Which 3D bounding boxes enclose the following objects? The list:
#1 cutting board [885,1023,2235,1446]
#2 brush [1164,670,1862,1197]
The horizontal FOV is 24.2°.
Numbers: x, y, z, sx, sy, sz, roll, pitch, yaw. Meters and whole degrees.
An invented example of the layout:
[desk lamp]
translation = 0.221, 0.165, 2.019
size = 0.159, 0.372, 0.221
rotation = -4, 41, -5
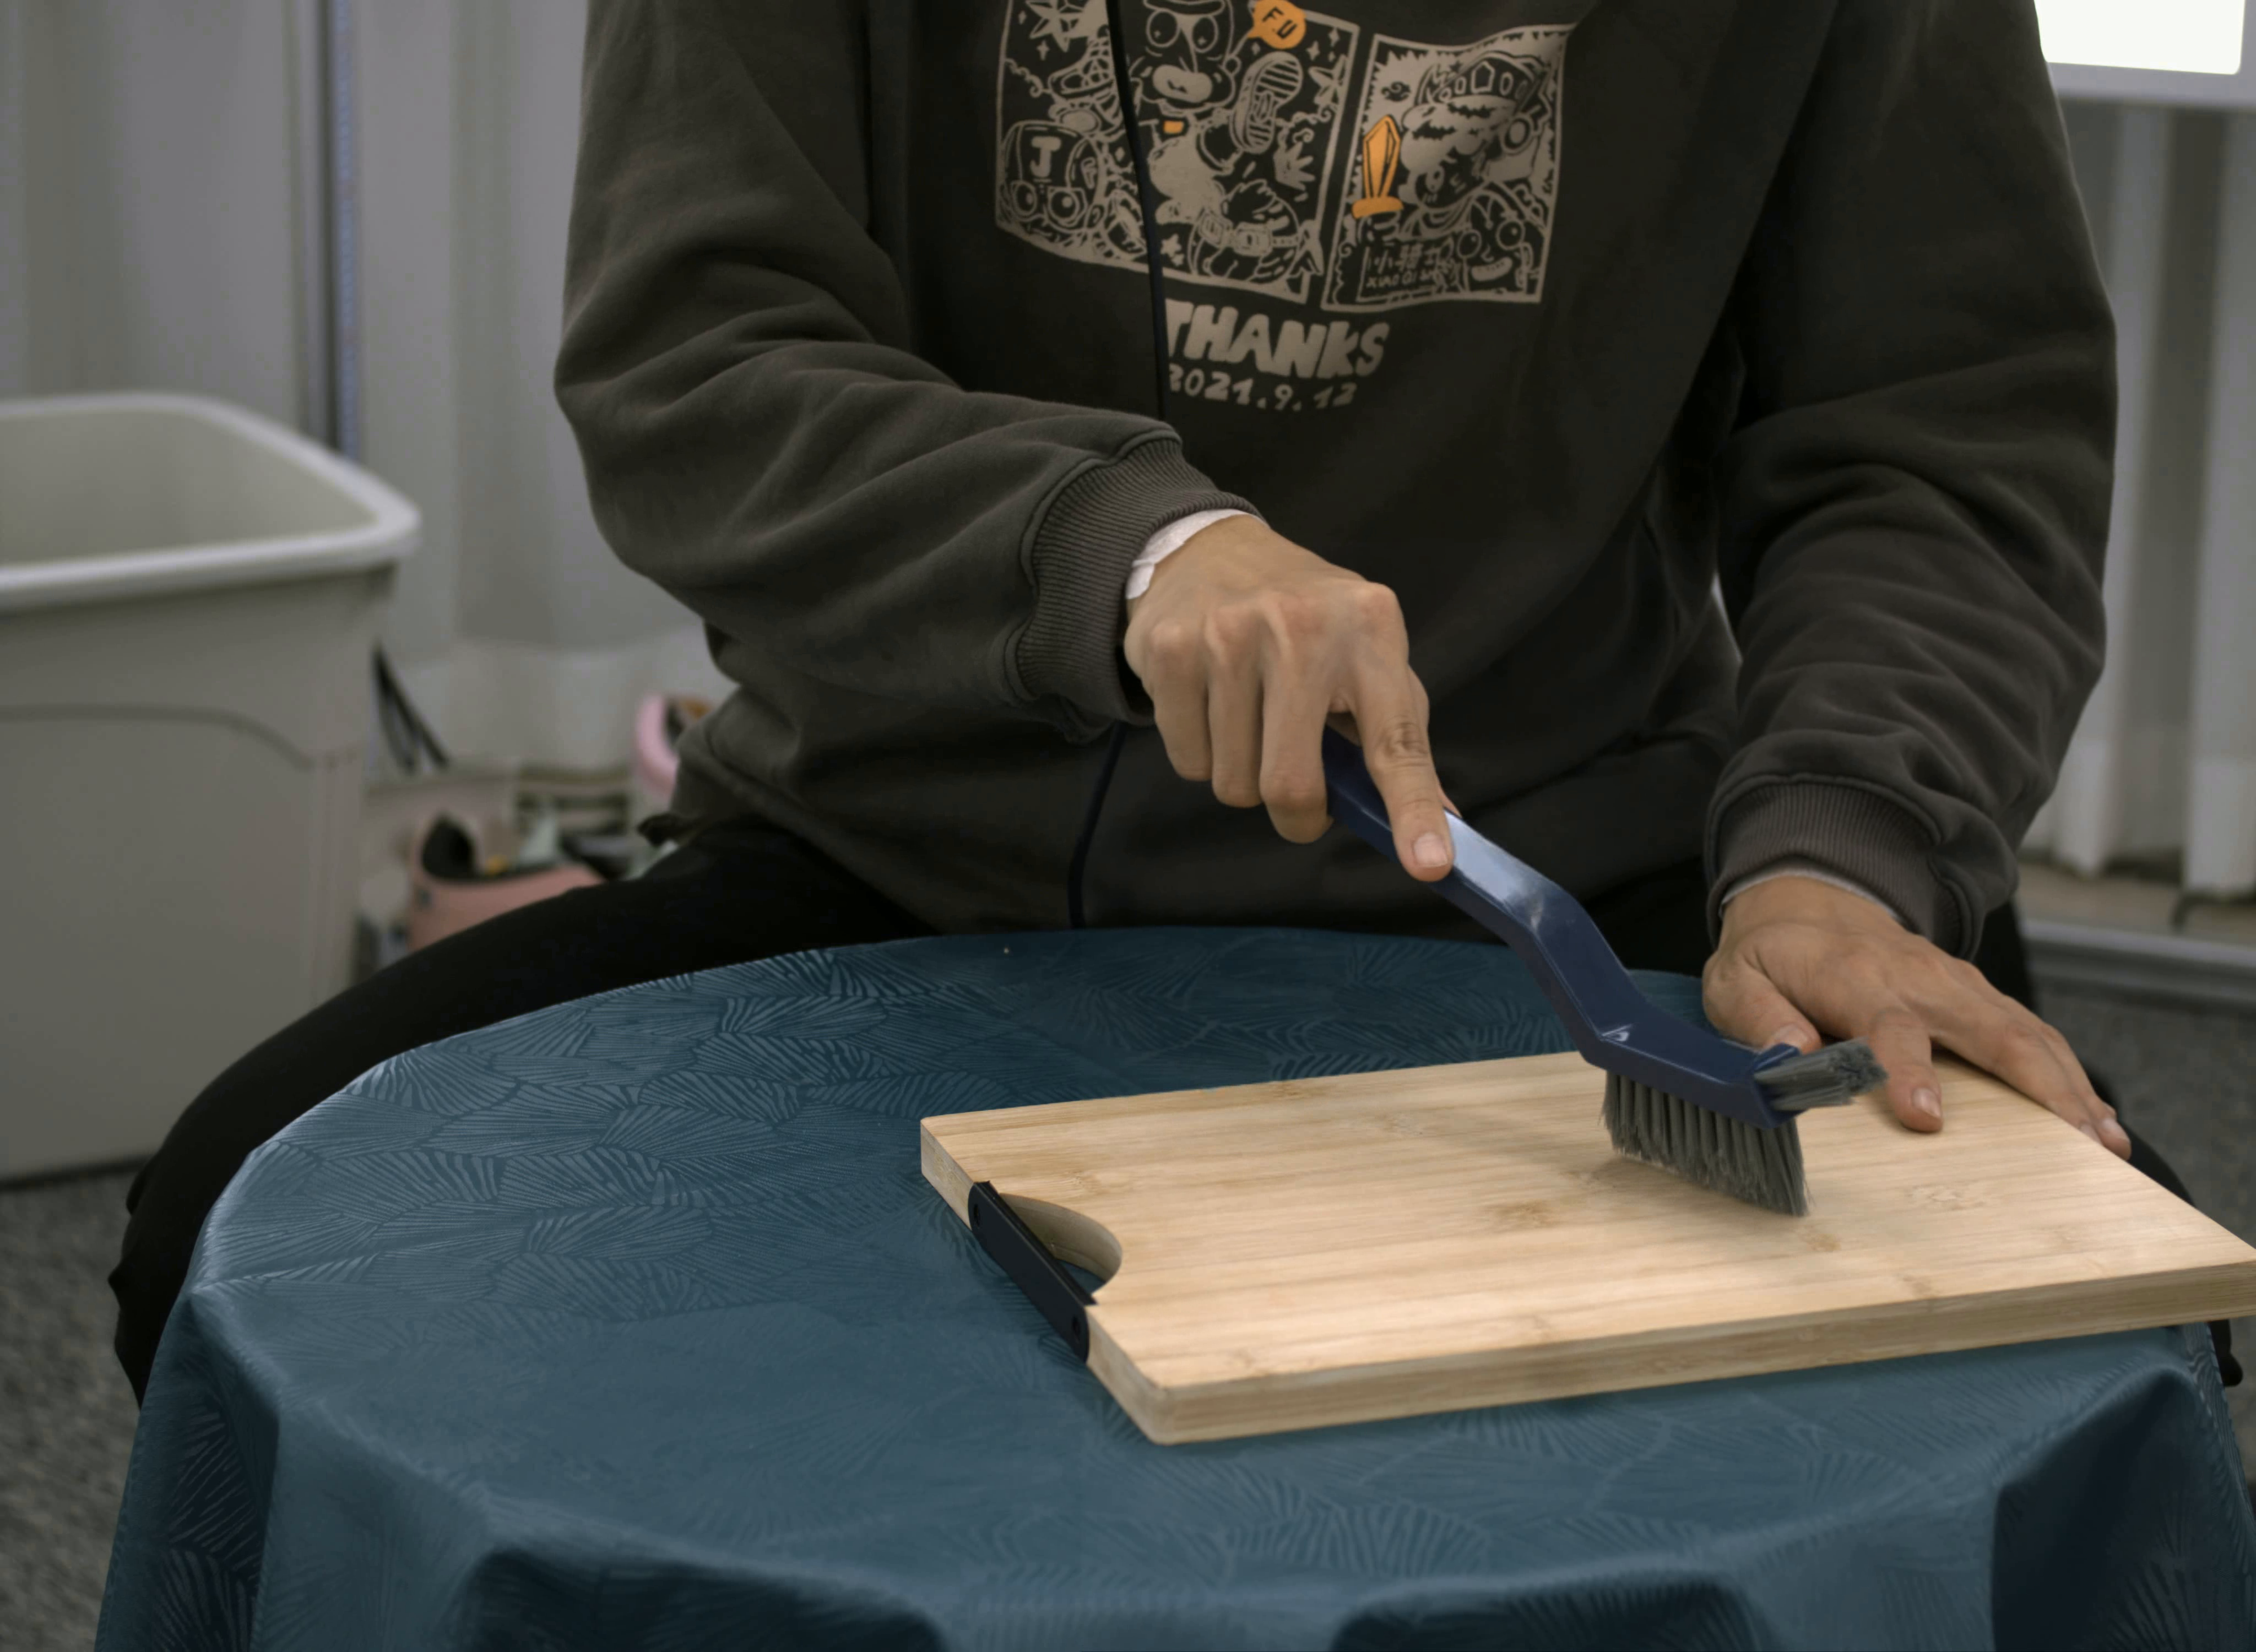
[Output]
[cutting board]
translation = 0.125, 0.118, 1.586
size = 0.349, 0.024, 0.248
rotation = -5, 16, -19
[brush]
translation = 0.114, 0.016, 1.610
size = 0.033, 0.096, 0.270
rotation = -27, 57, -34
